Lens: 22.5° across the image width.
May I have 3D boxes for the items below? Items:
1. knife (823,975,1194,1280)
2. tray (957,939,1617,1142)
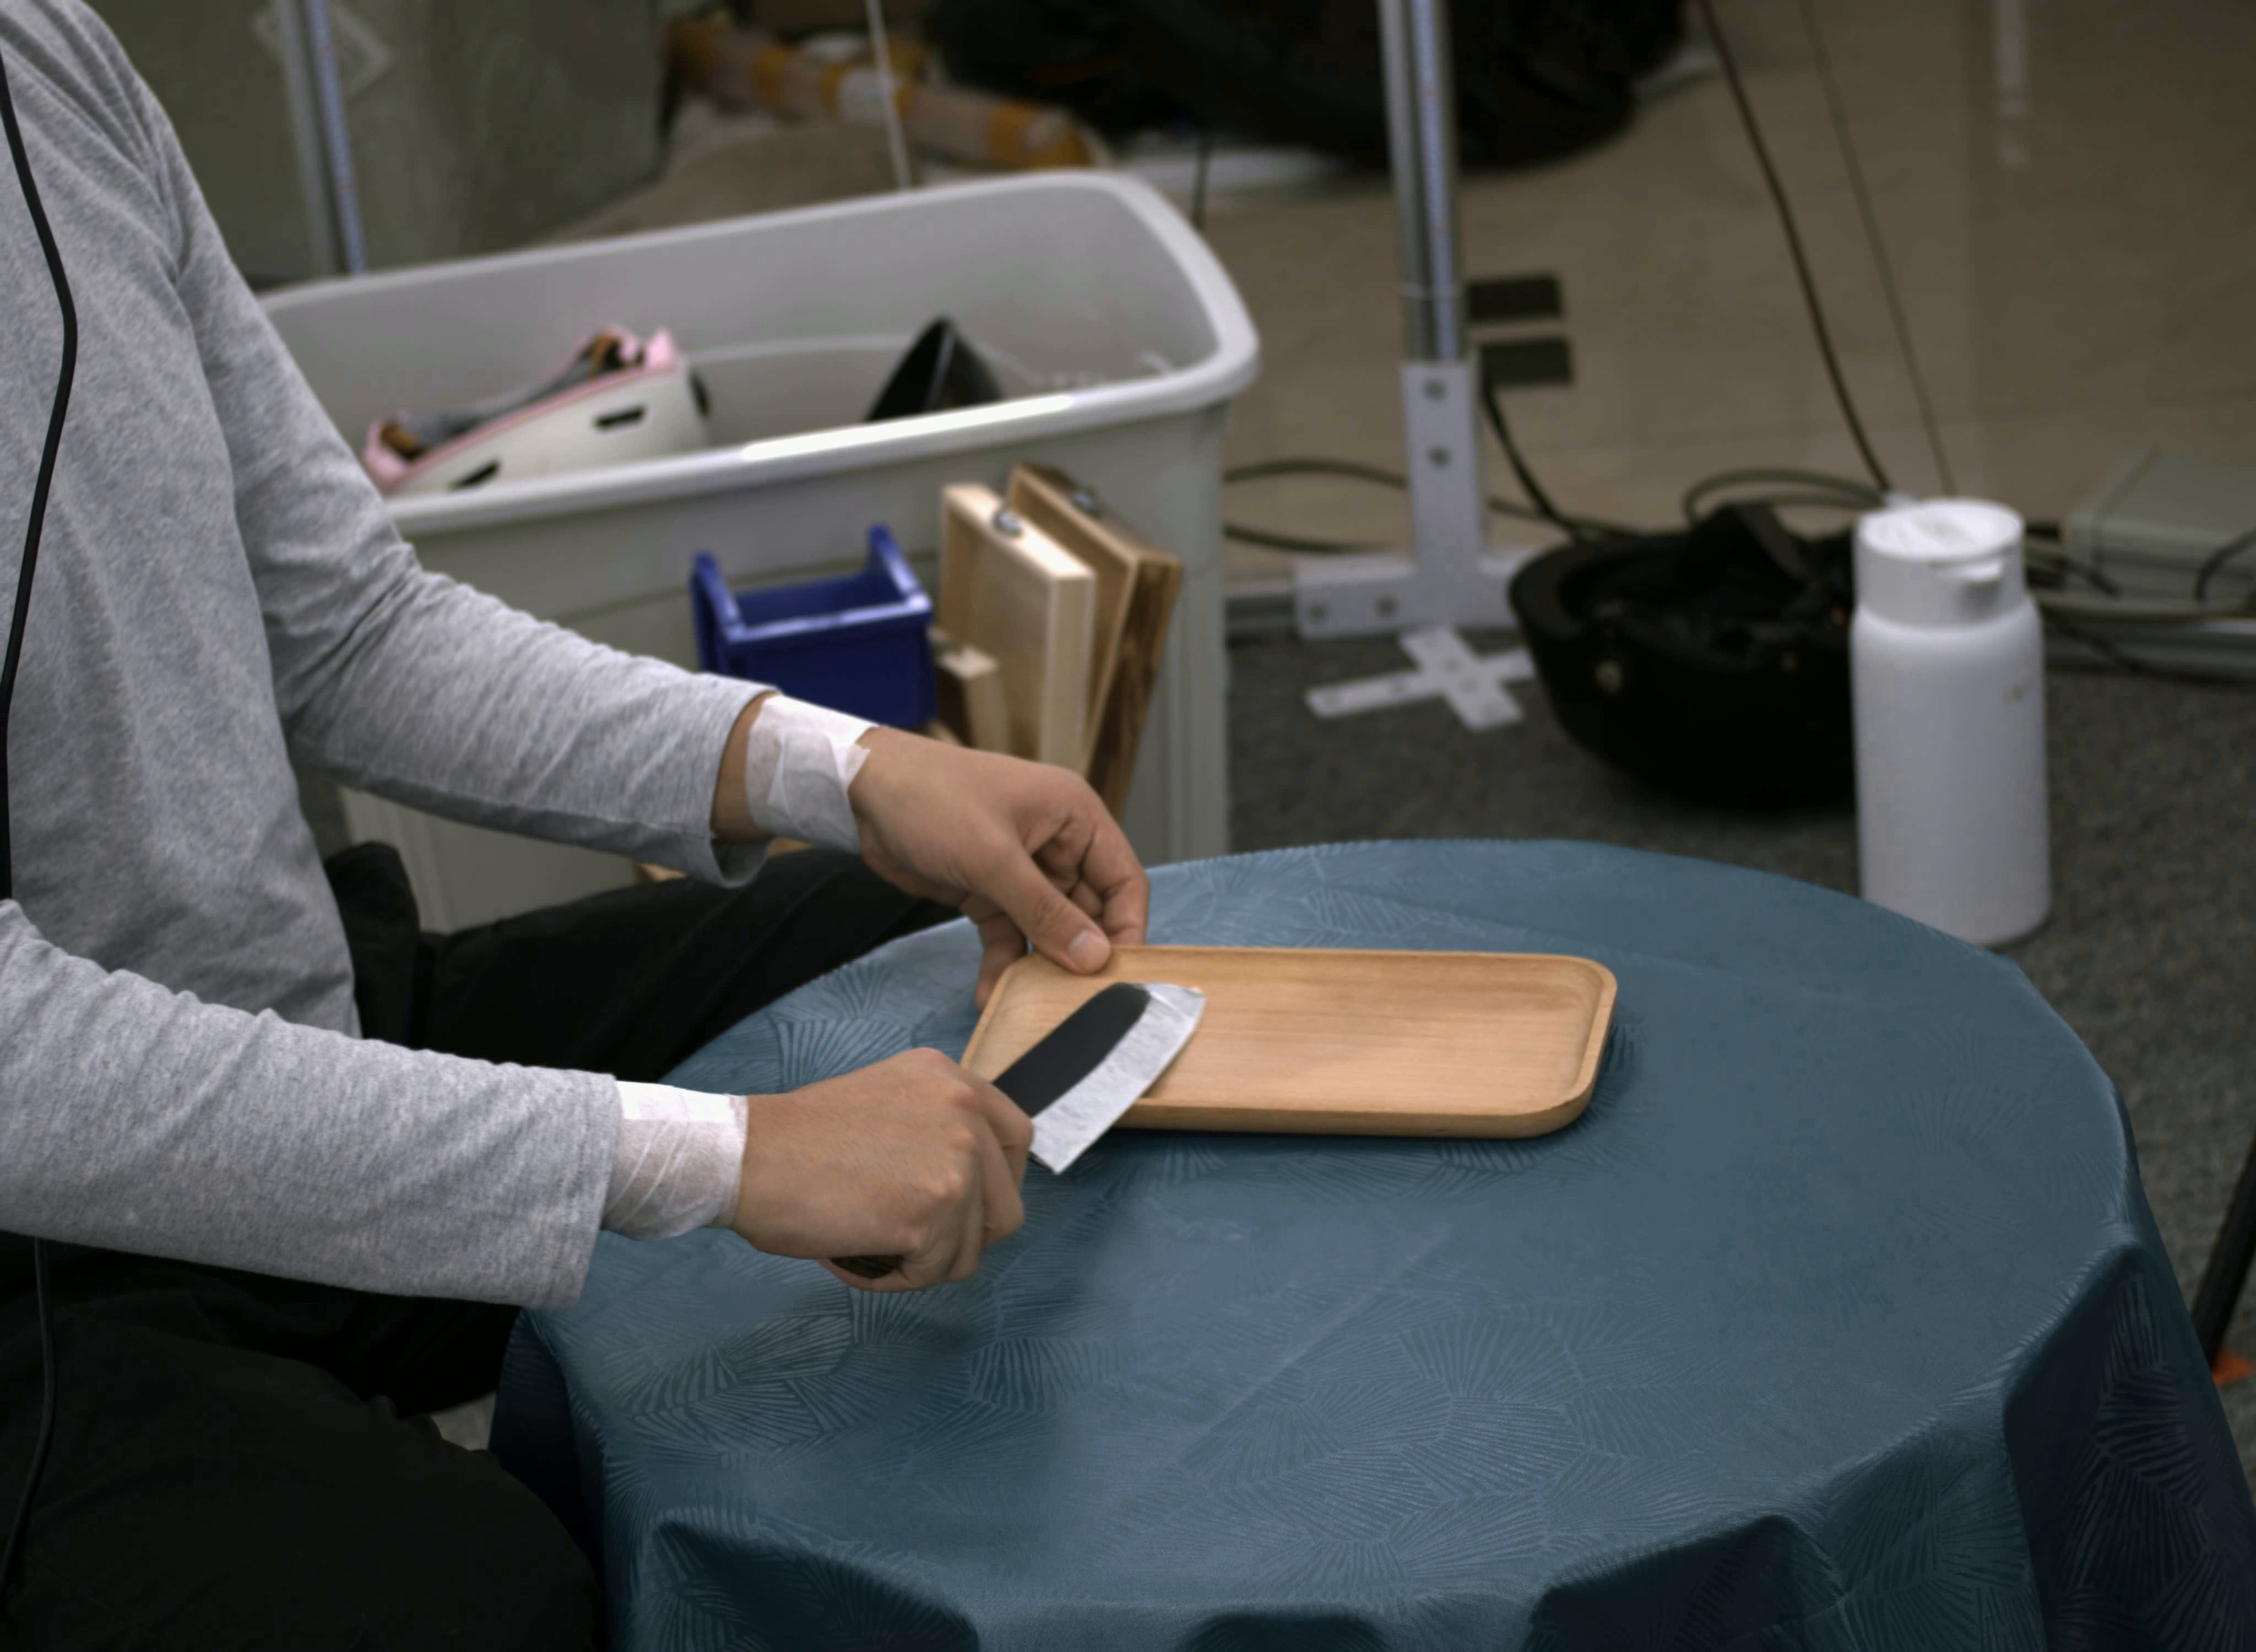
[{"bbox_3d":[-0.040,0.109,2.141,0.050,0.020,0.286,39,31,9],"label":"knife"},{"bbox_3d":[0.063,0.084,2.225,0.250,0.023,0.128,1,26,14],"label":"tray"}]
